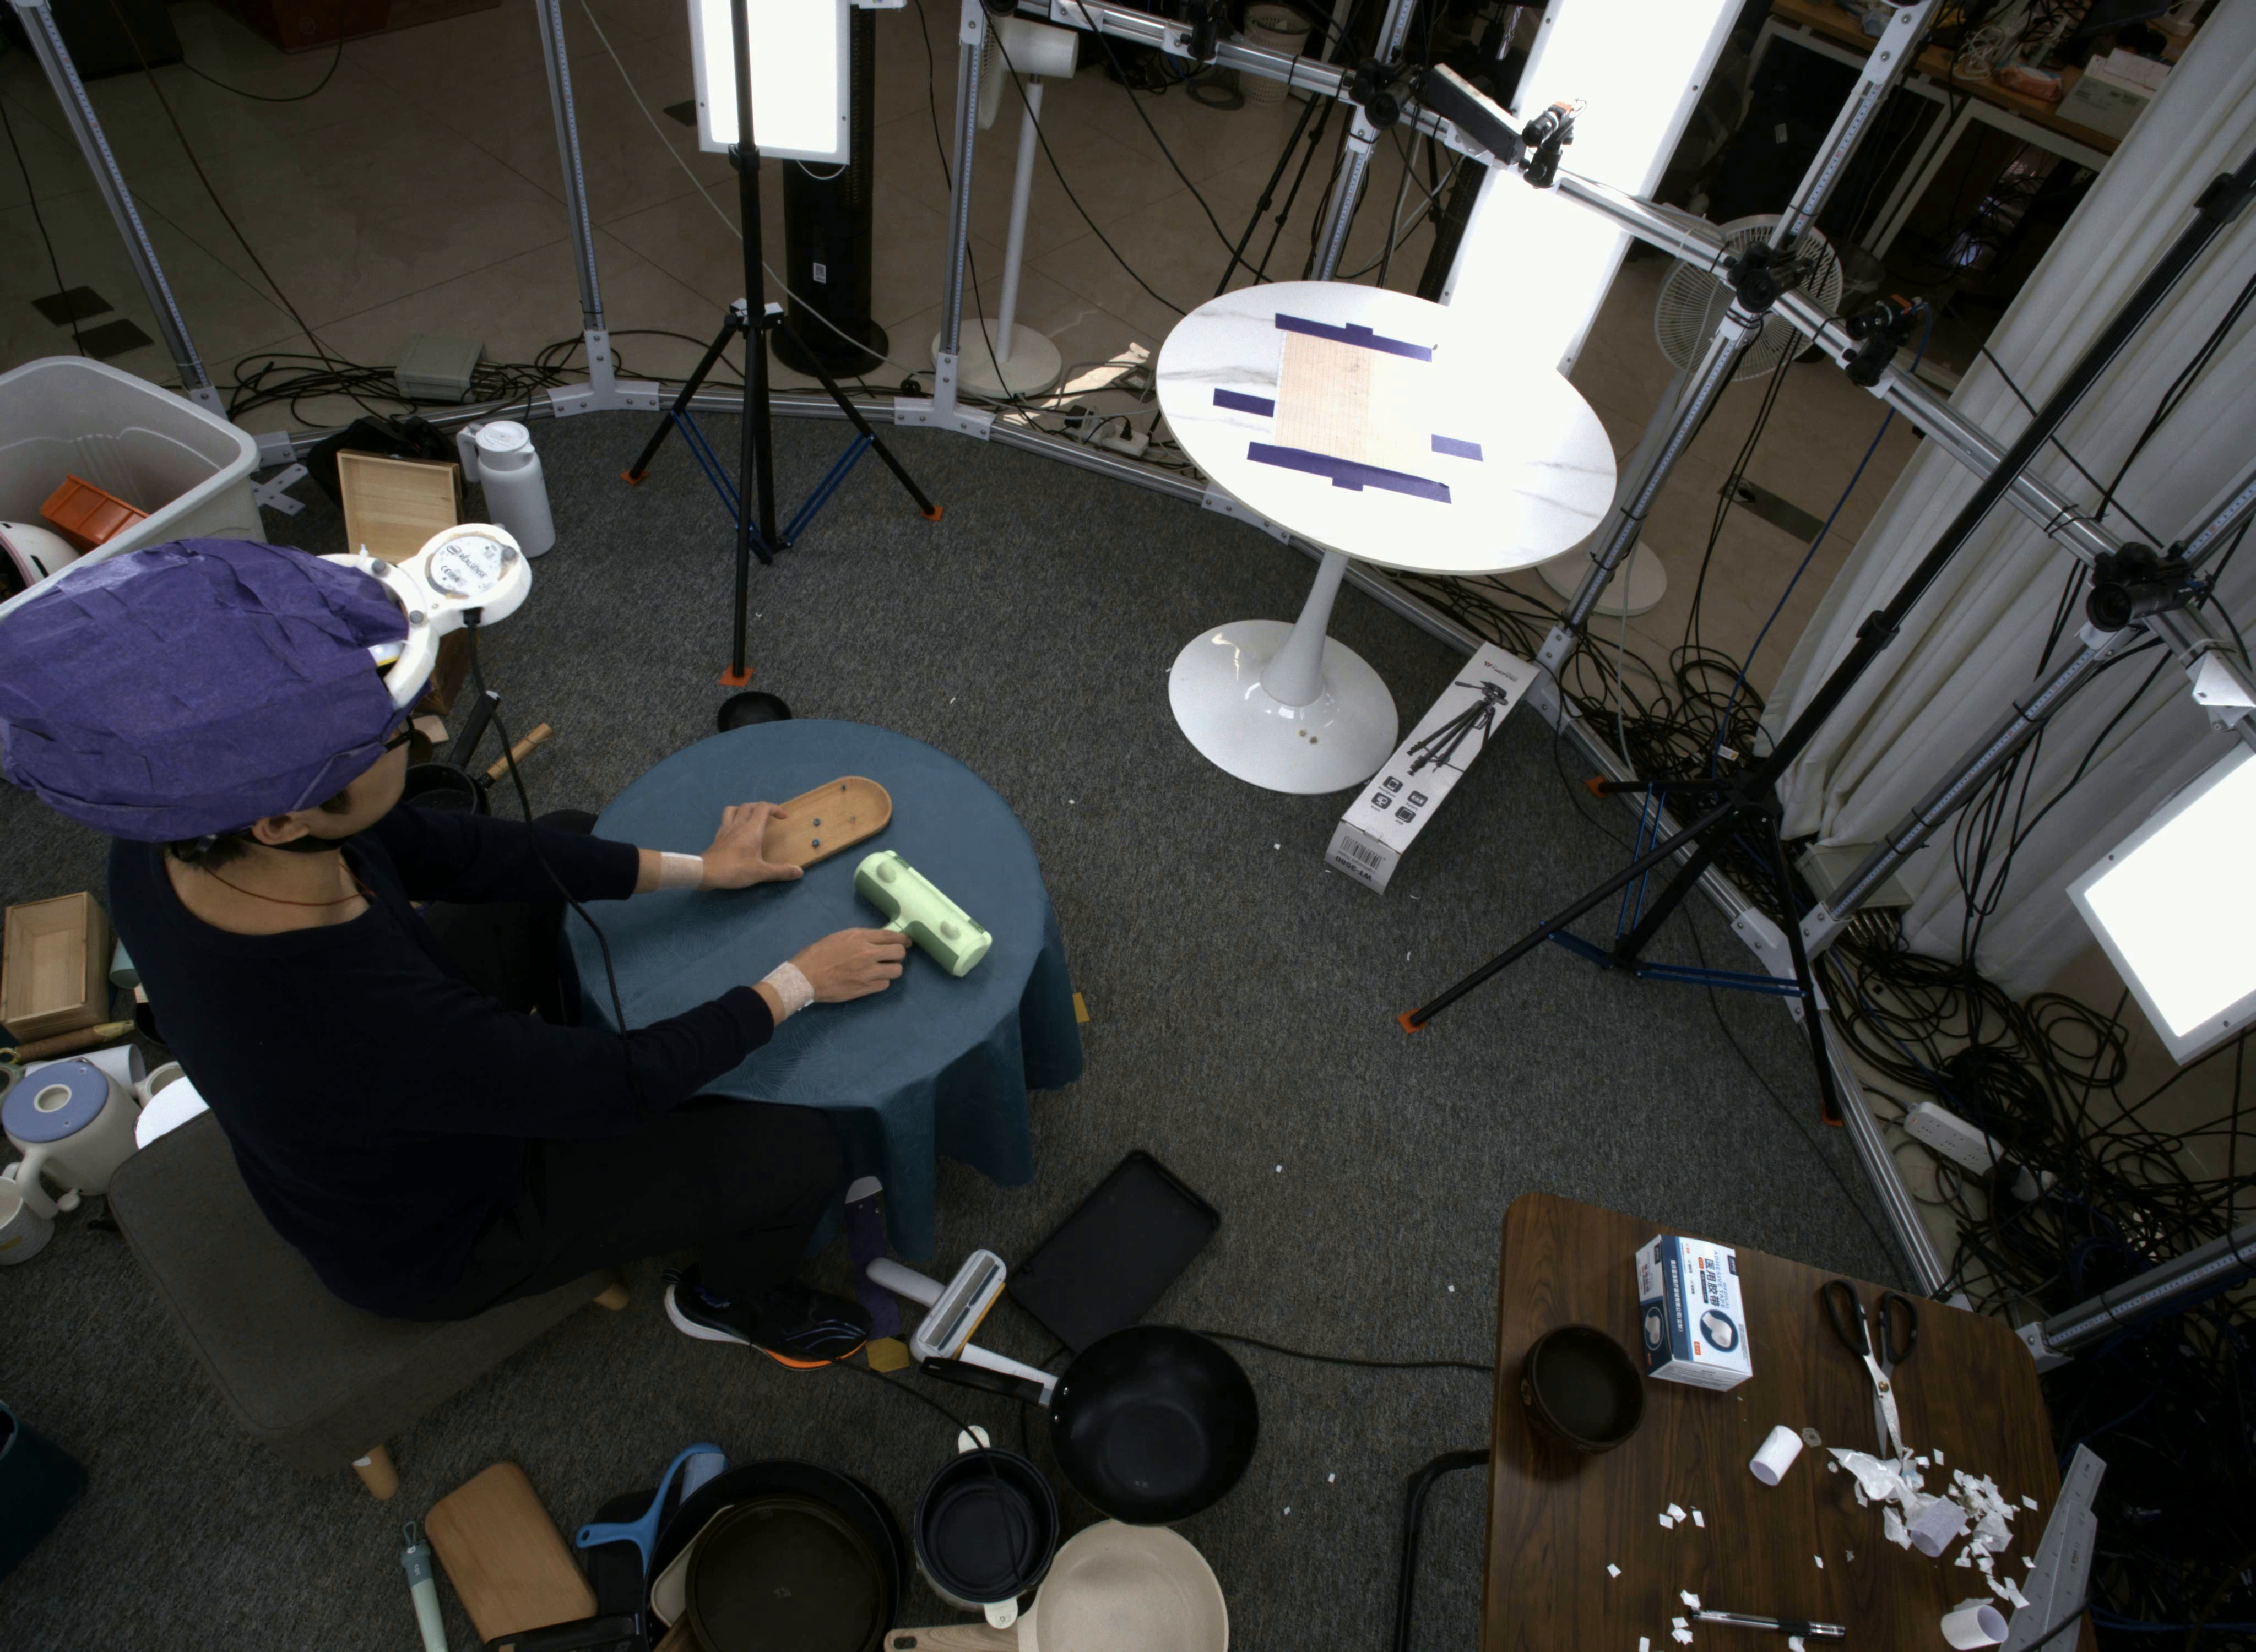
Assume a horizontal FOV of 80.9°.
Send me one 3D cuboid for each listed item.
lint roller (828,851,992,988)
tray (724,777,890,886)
[{"bbox_3d":[-0.294,0.125,1.594,0.194,0.084,0.184,38,45,16],"label":"lint roller"},{"bbox_3d":[-0.419,0.005,1.701,0.232,0.021,0.099,-29,66,-30],"label":"tray"}]
